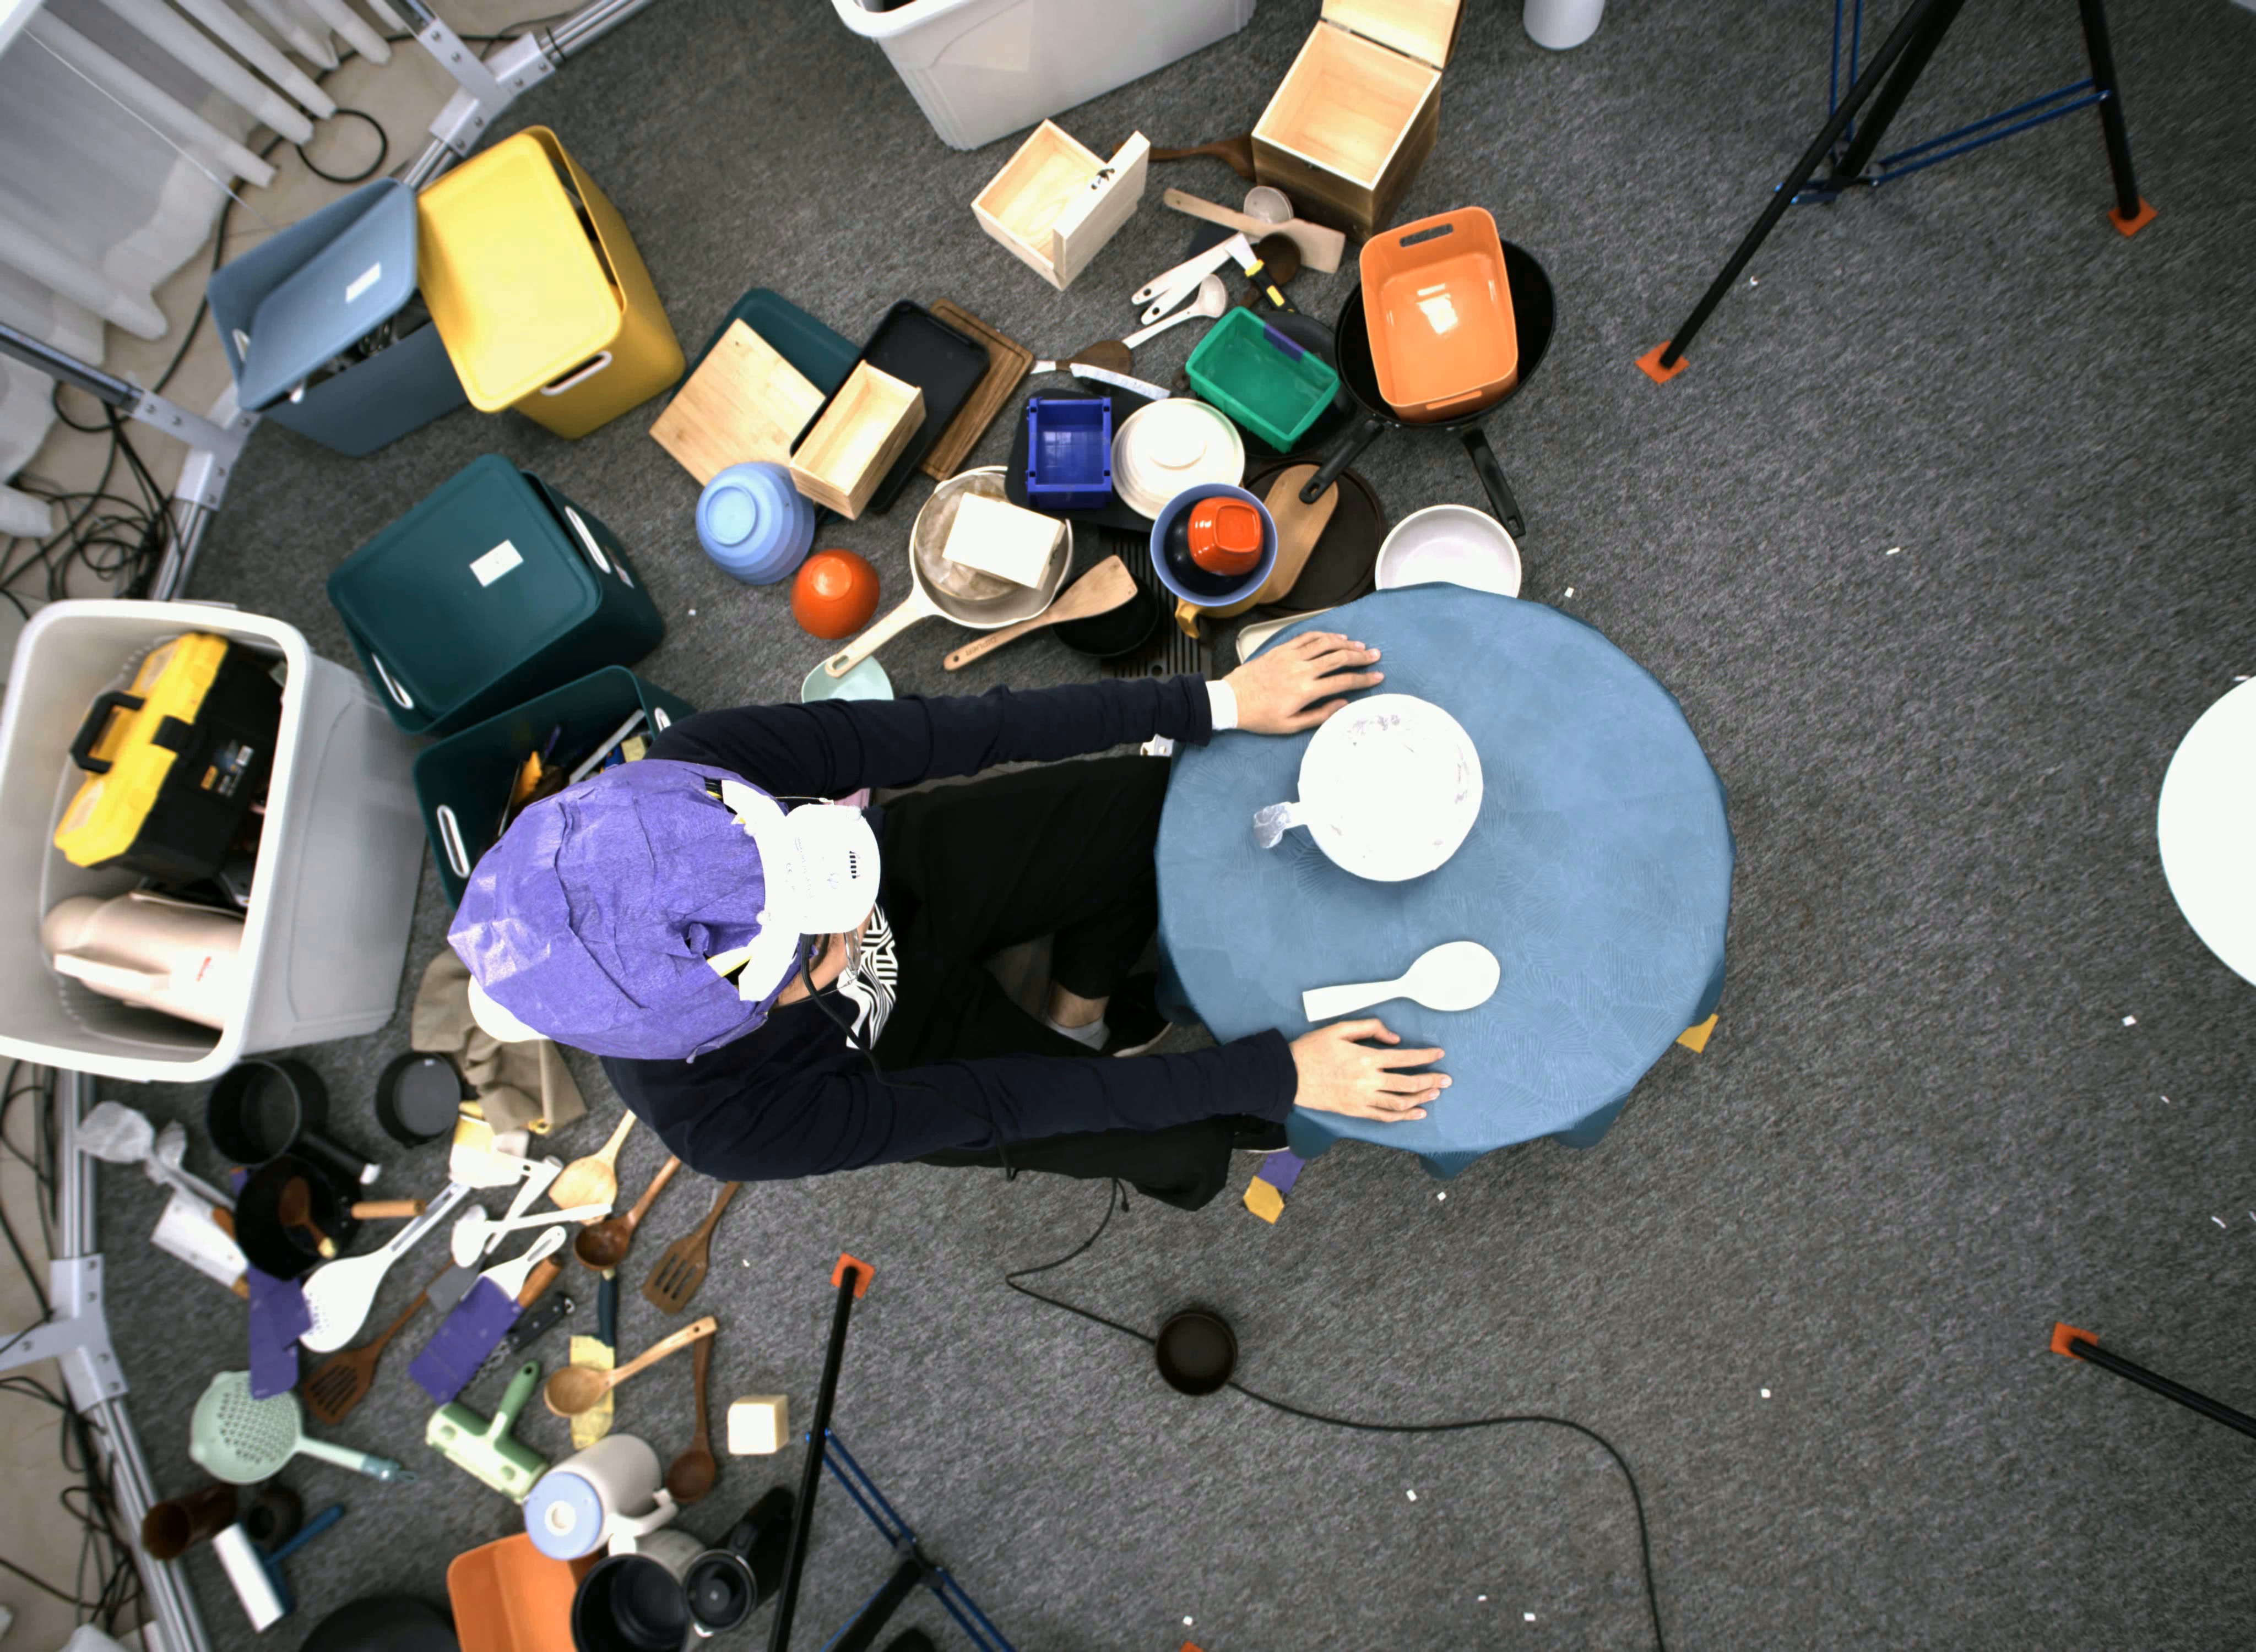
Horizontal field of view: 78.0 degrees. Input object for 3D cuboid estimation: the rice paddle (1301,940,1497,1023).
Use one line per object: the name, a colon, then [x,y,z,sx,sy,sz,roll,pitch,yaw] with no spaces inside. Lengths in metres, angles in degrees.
rice paddle: [0.282,0.165,1.438,0.206,0.029,0.068,-14,86,11]

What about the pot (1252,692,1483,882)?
pot: [0.238,-0.028,1.402,0.235,0.137,0.177,-17,80,8]
